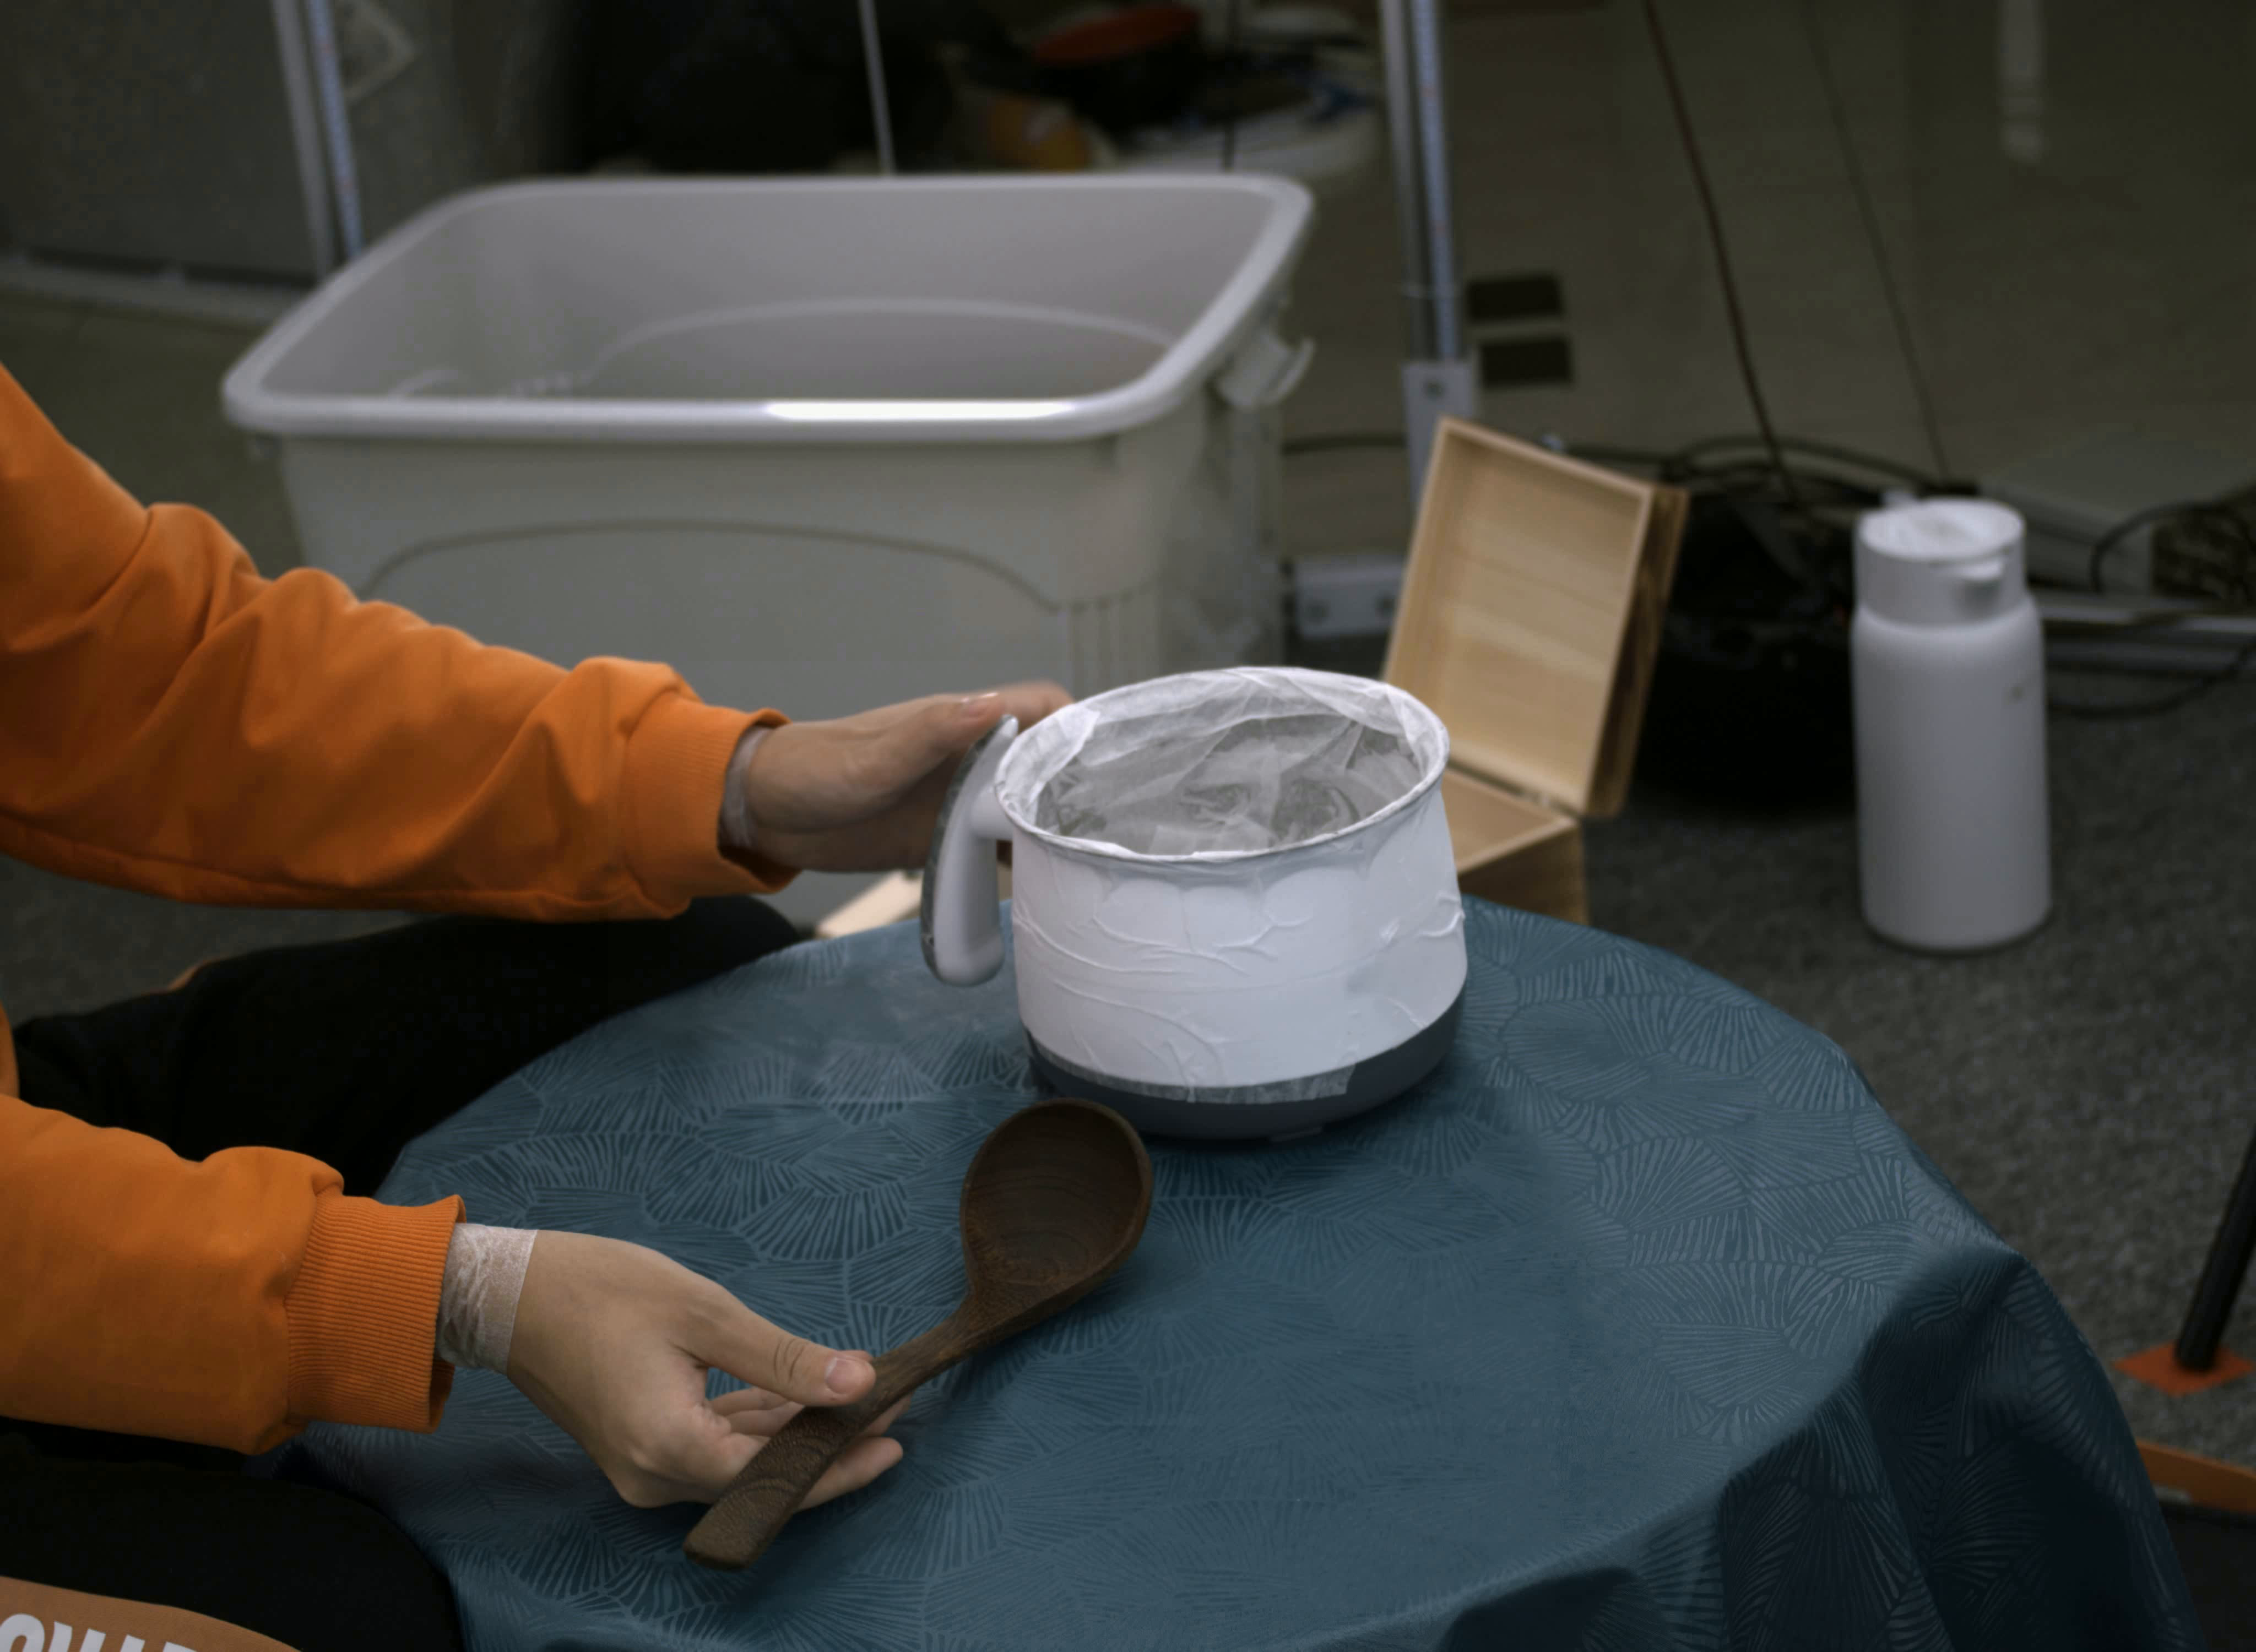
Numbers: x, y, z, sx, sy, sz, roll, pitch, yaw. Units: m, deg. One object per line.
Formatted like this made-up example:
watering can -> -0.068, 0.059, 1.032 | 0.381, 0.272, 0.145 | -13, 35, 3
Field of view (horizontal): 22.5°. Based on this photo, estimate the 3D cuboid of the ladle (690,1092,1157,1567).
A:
ladle -> -0.075, 0.171, 1.995 | 0.076, 0.072, 0.271 | 7, 22, 28

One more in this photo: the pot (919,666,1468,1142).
pot -> 0.018, 0.028, 2.215 | 0.232, 0.139, 0.176 | 9, 29, 28
